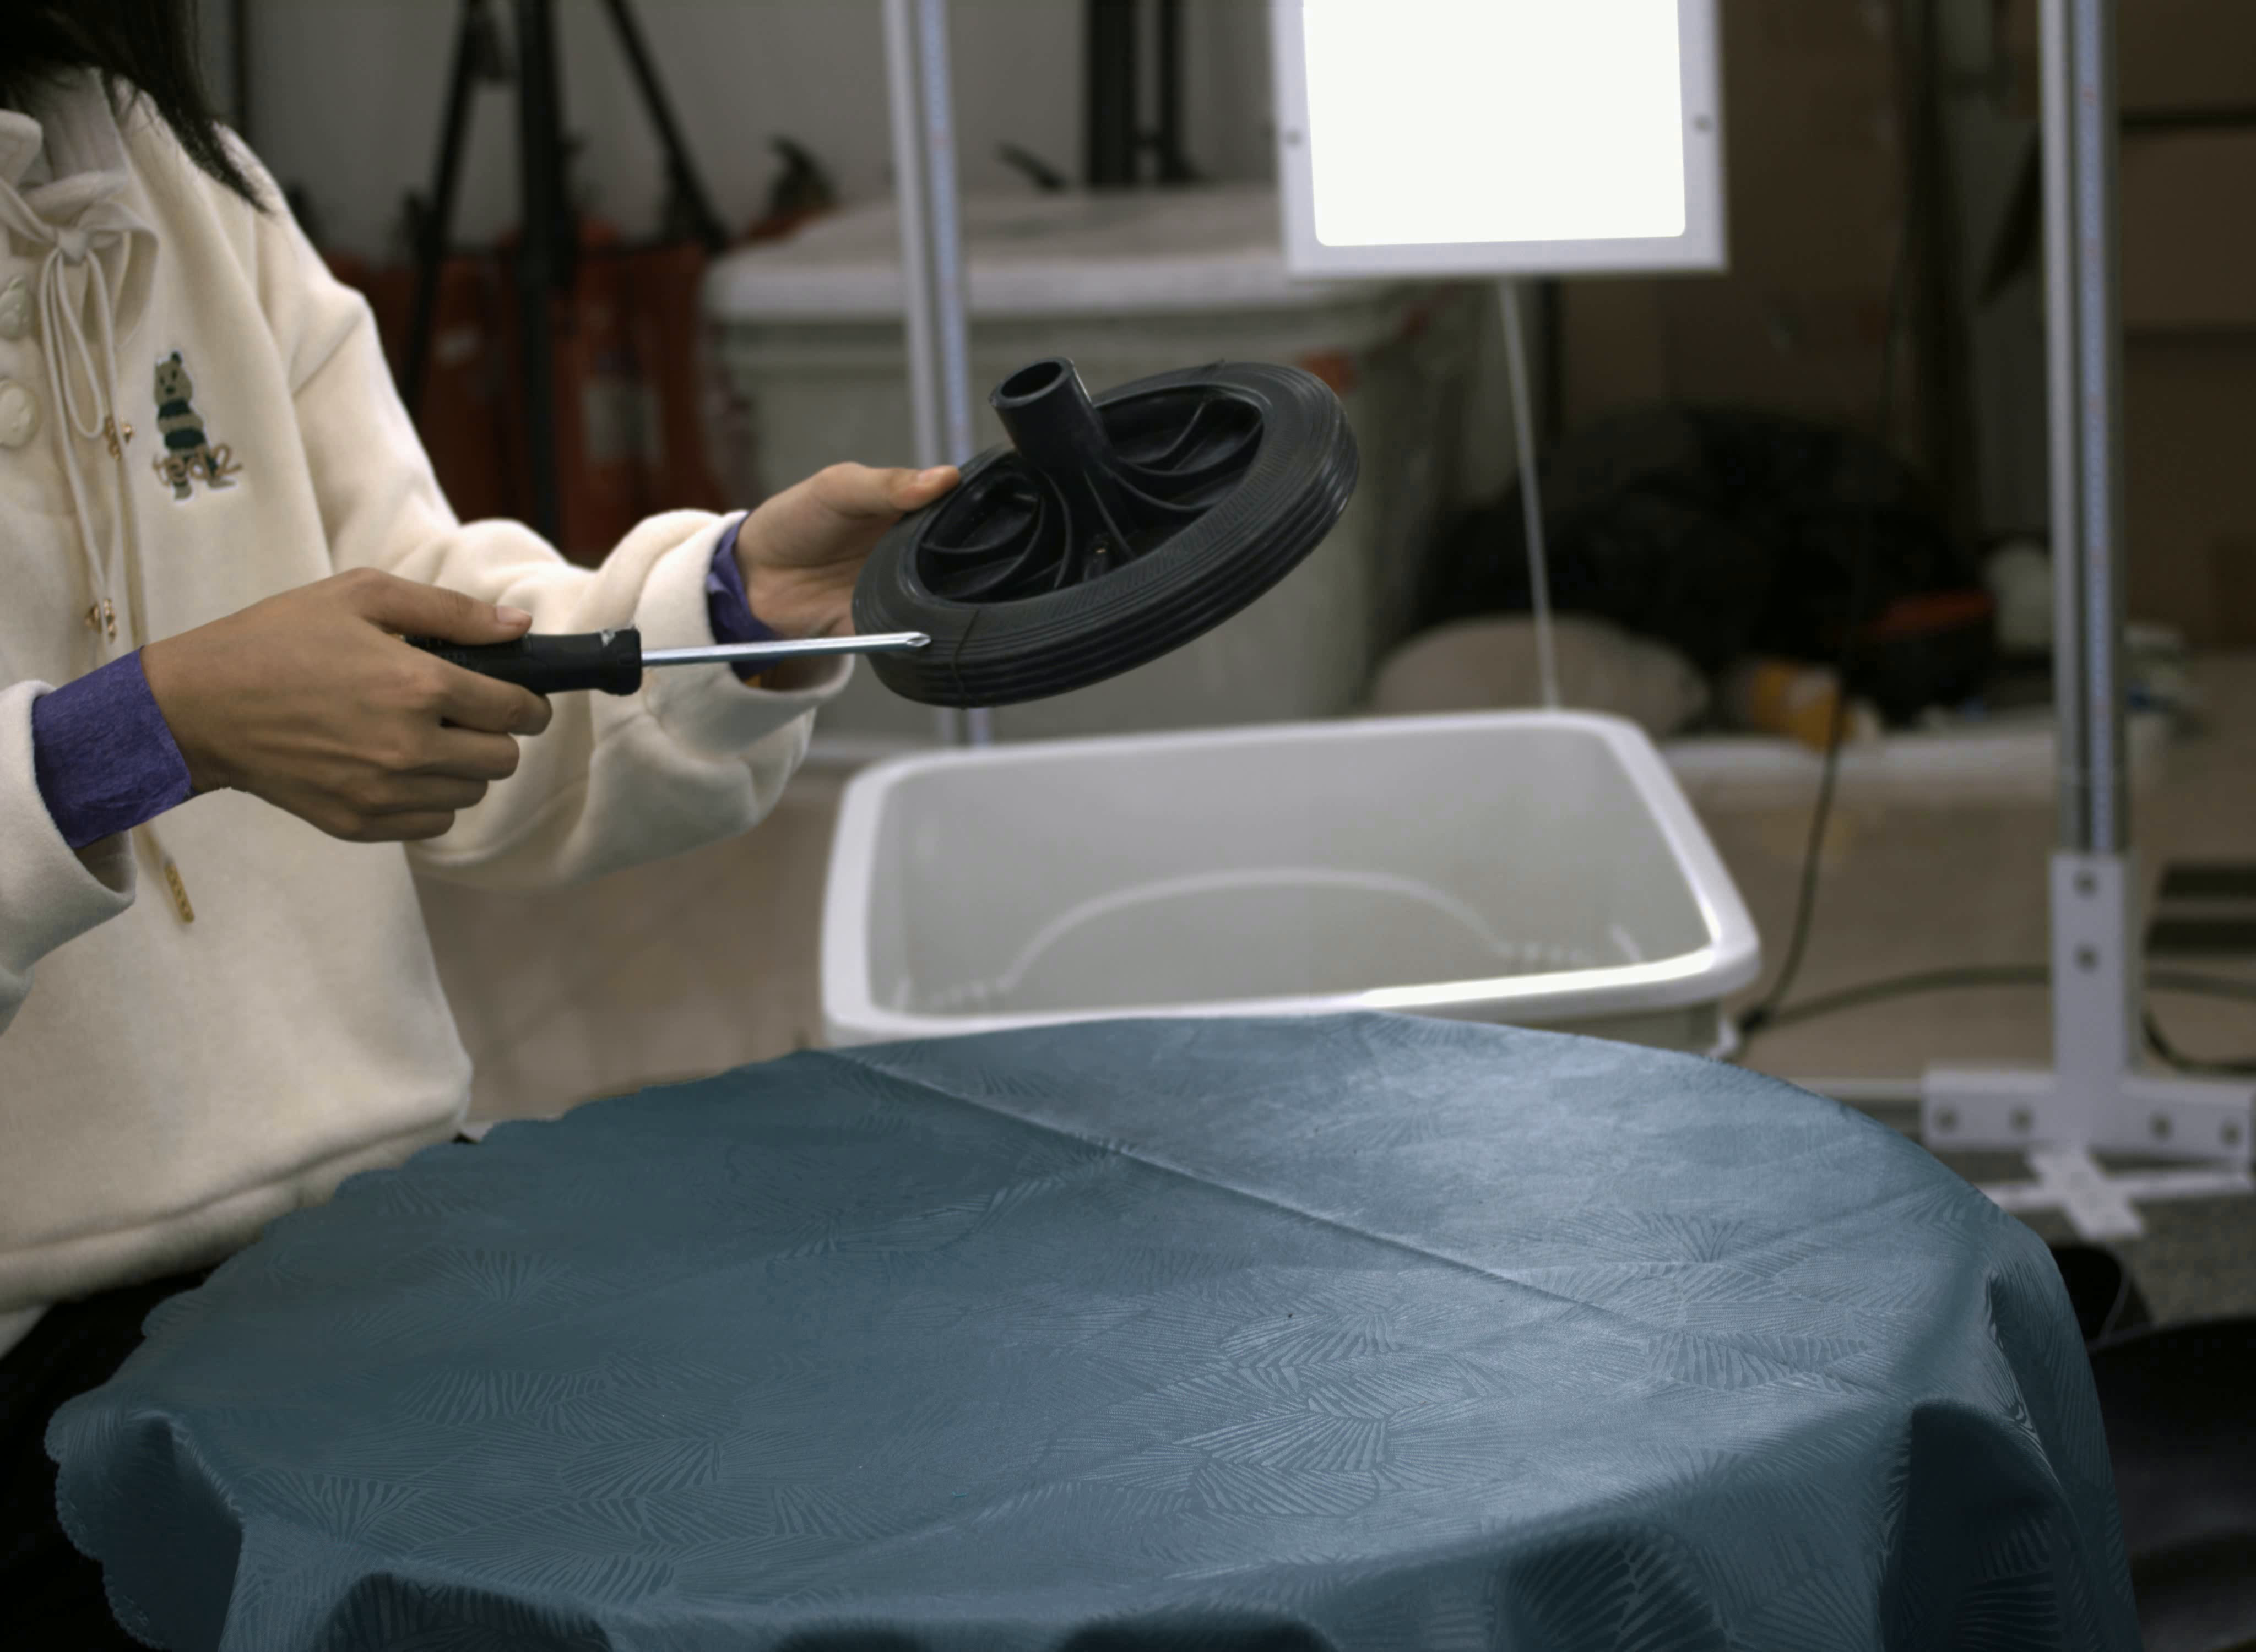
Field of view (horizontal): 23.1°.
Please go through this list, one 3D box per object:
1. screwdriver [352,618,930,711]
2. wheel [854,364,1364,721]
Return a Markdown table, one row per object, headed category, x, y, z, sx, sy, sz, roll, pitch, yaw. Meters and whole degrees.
| category | x | y | z | sx | sy | sz | roll | pitch | yaw |
| --- | --- | --- | --- | --- | --- | --- | --- | --- | --- |
| screwdriver | -0.162 | -0.059 | 1.854 | 0.194 | 0.031 | 0.031 | -5 | 14 | -6 |
| wheel | -0.015 | -0.117 | 1.907 | 0.186 | 0.079 | 0.192 | -31 | 29 | -6 |
